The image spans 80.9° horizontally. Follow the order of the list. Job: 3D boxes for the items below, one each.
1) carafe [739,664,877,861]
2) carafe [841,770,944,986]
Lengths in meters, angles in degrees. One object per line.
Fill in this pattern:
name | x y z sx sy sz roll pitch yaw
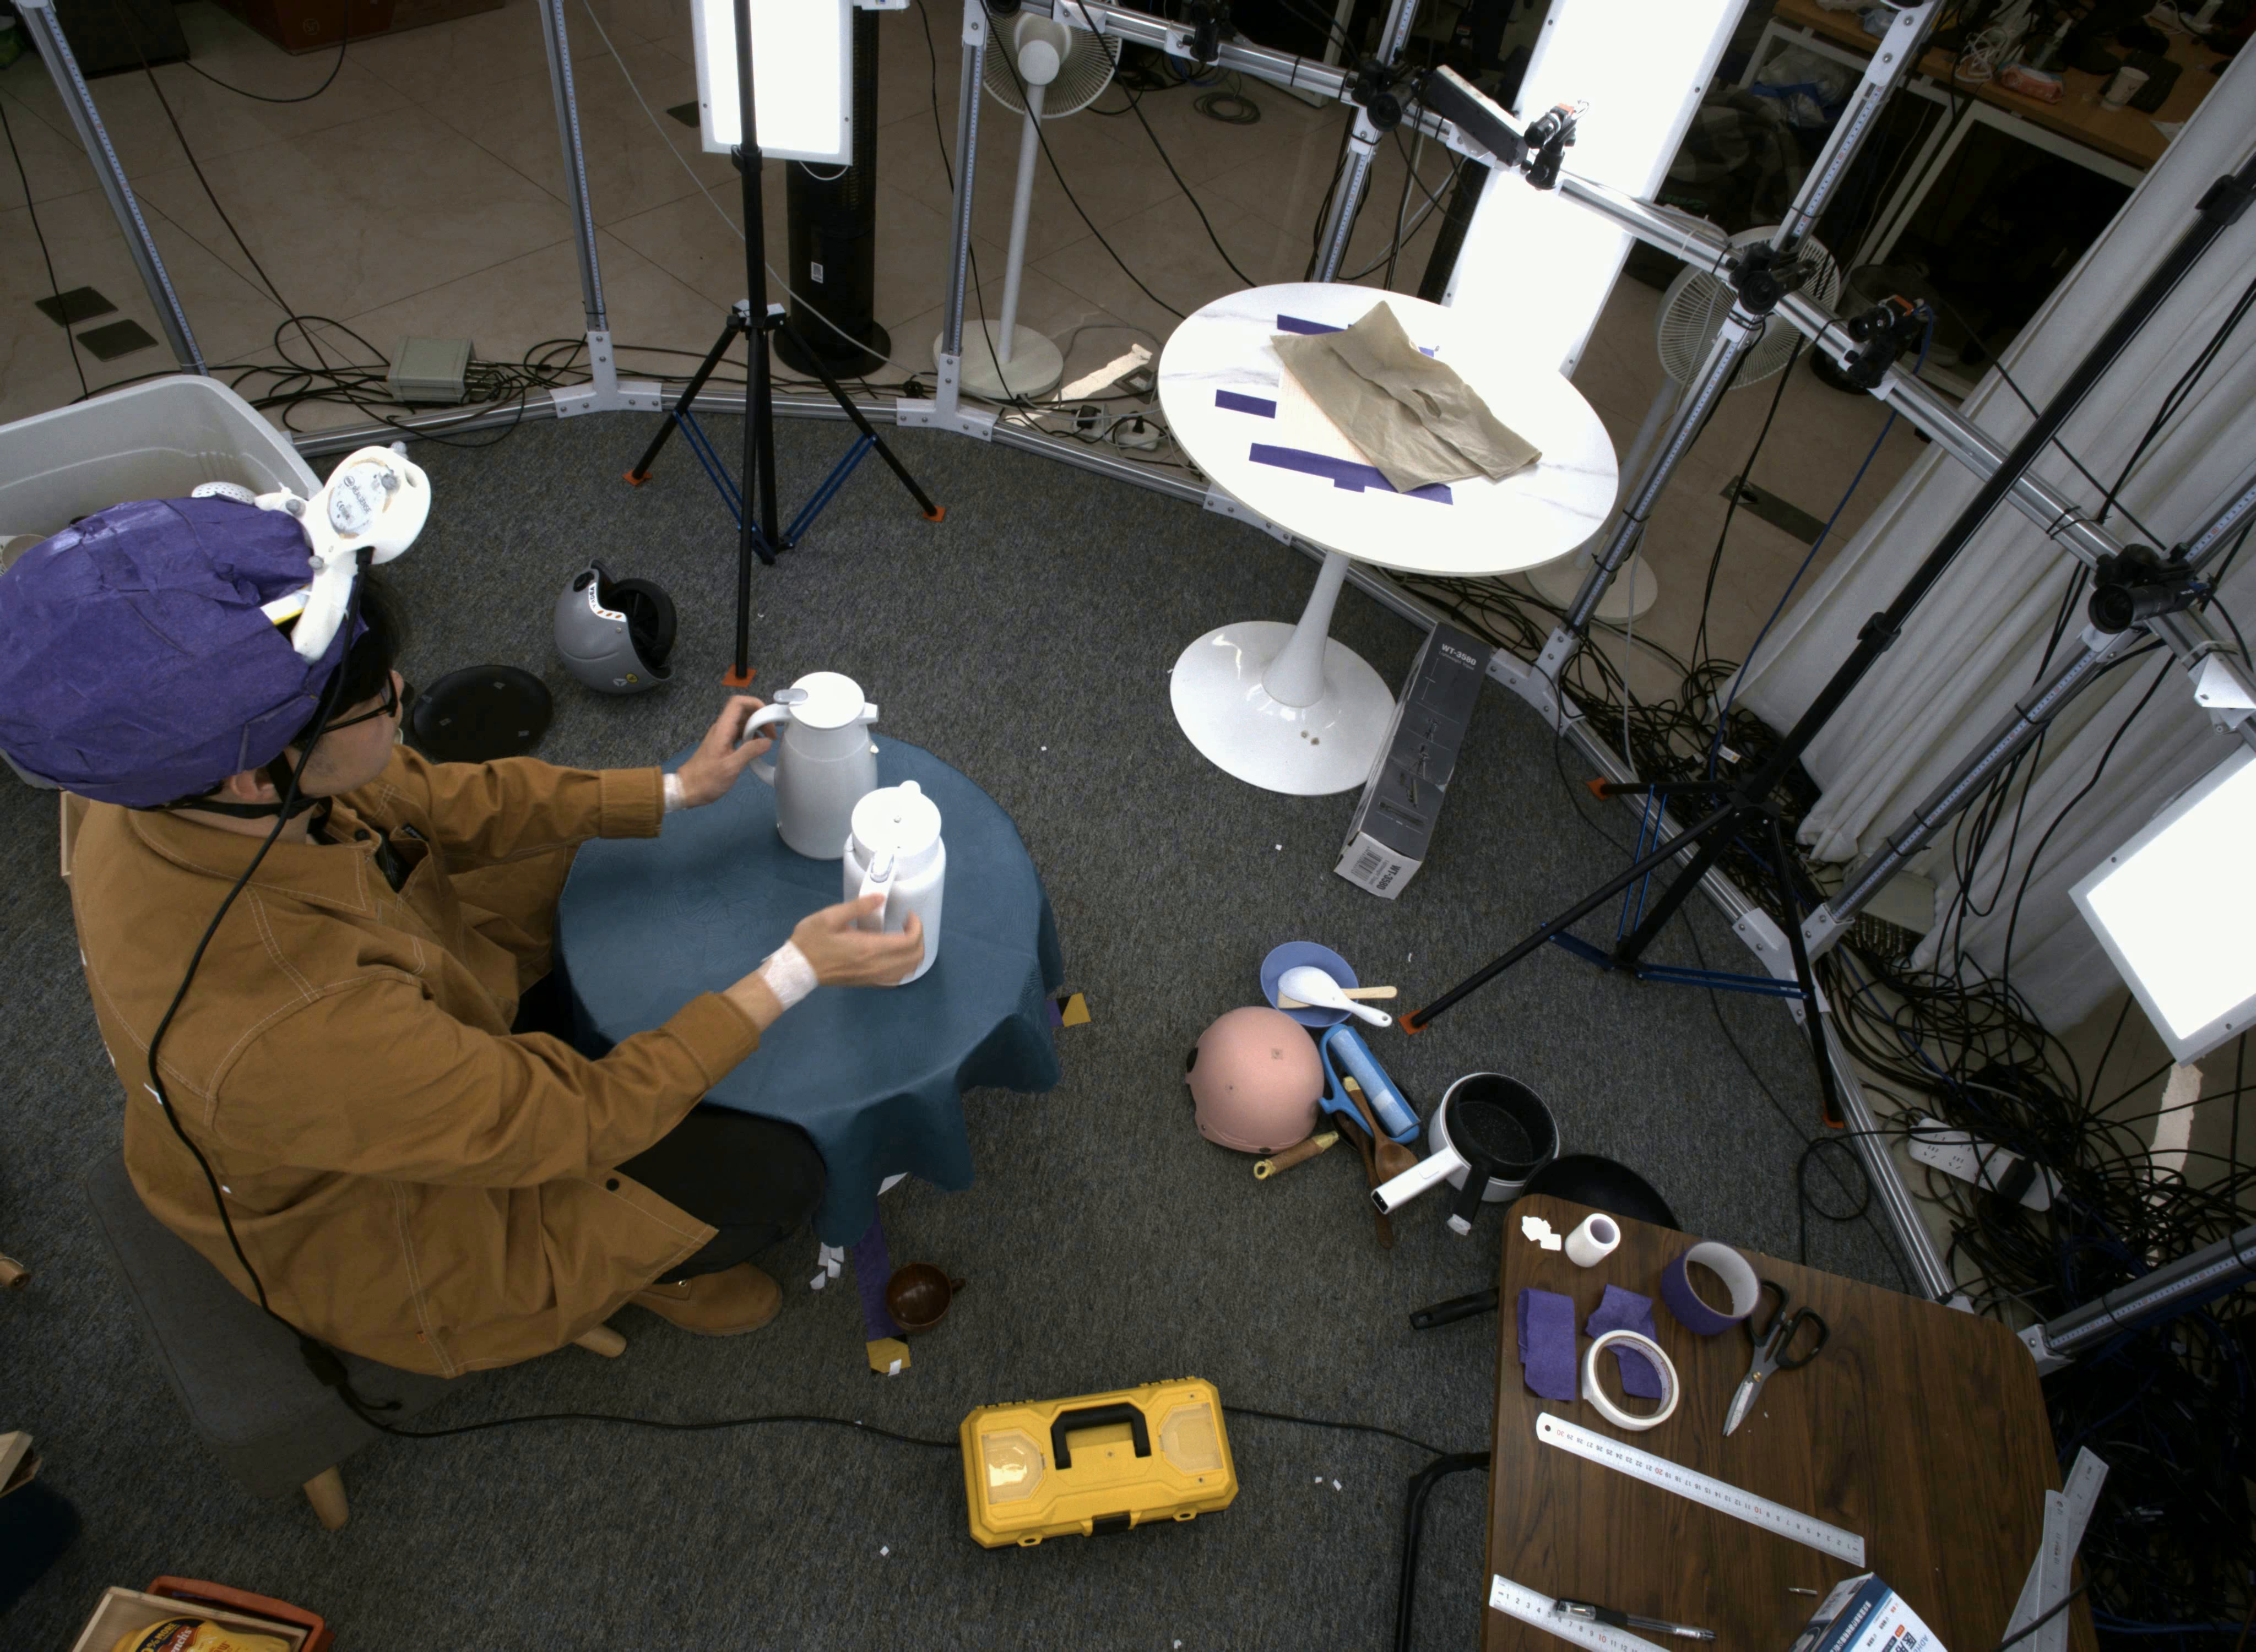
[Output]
carafe | -0.401 -0.085 1.630 0.167 0.254 0.130 1 52 -10
carafe | -0.280 0.083 1.524 0.123 0.274 0.170 13 51 -4
